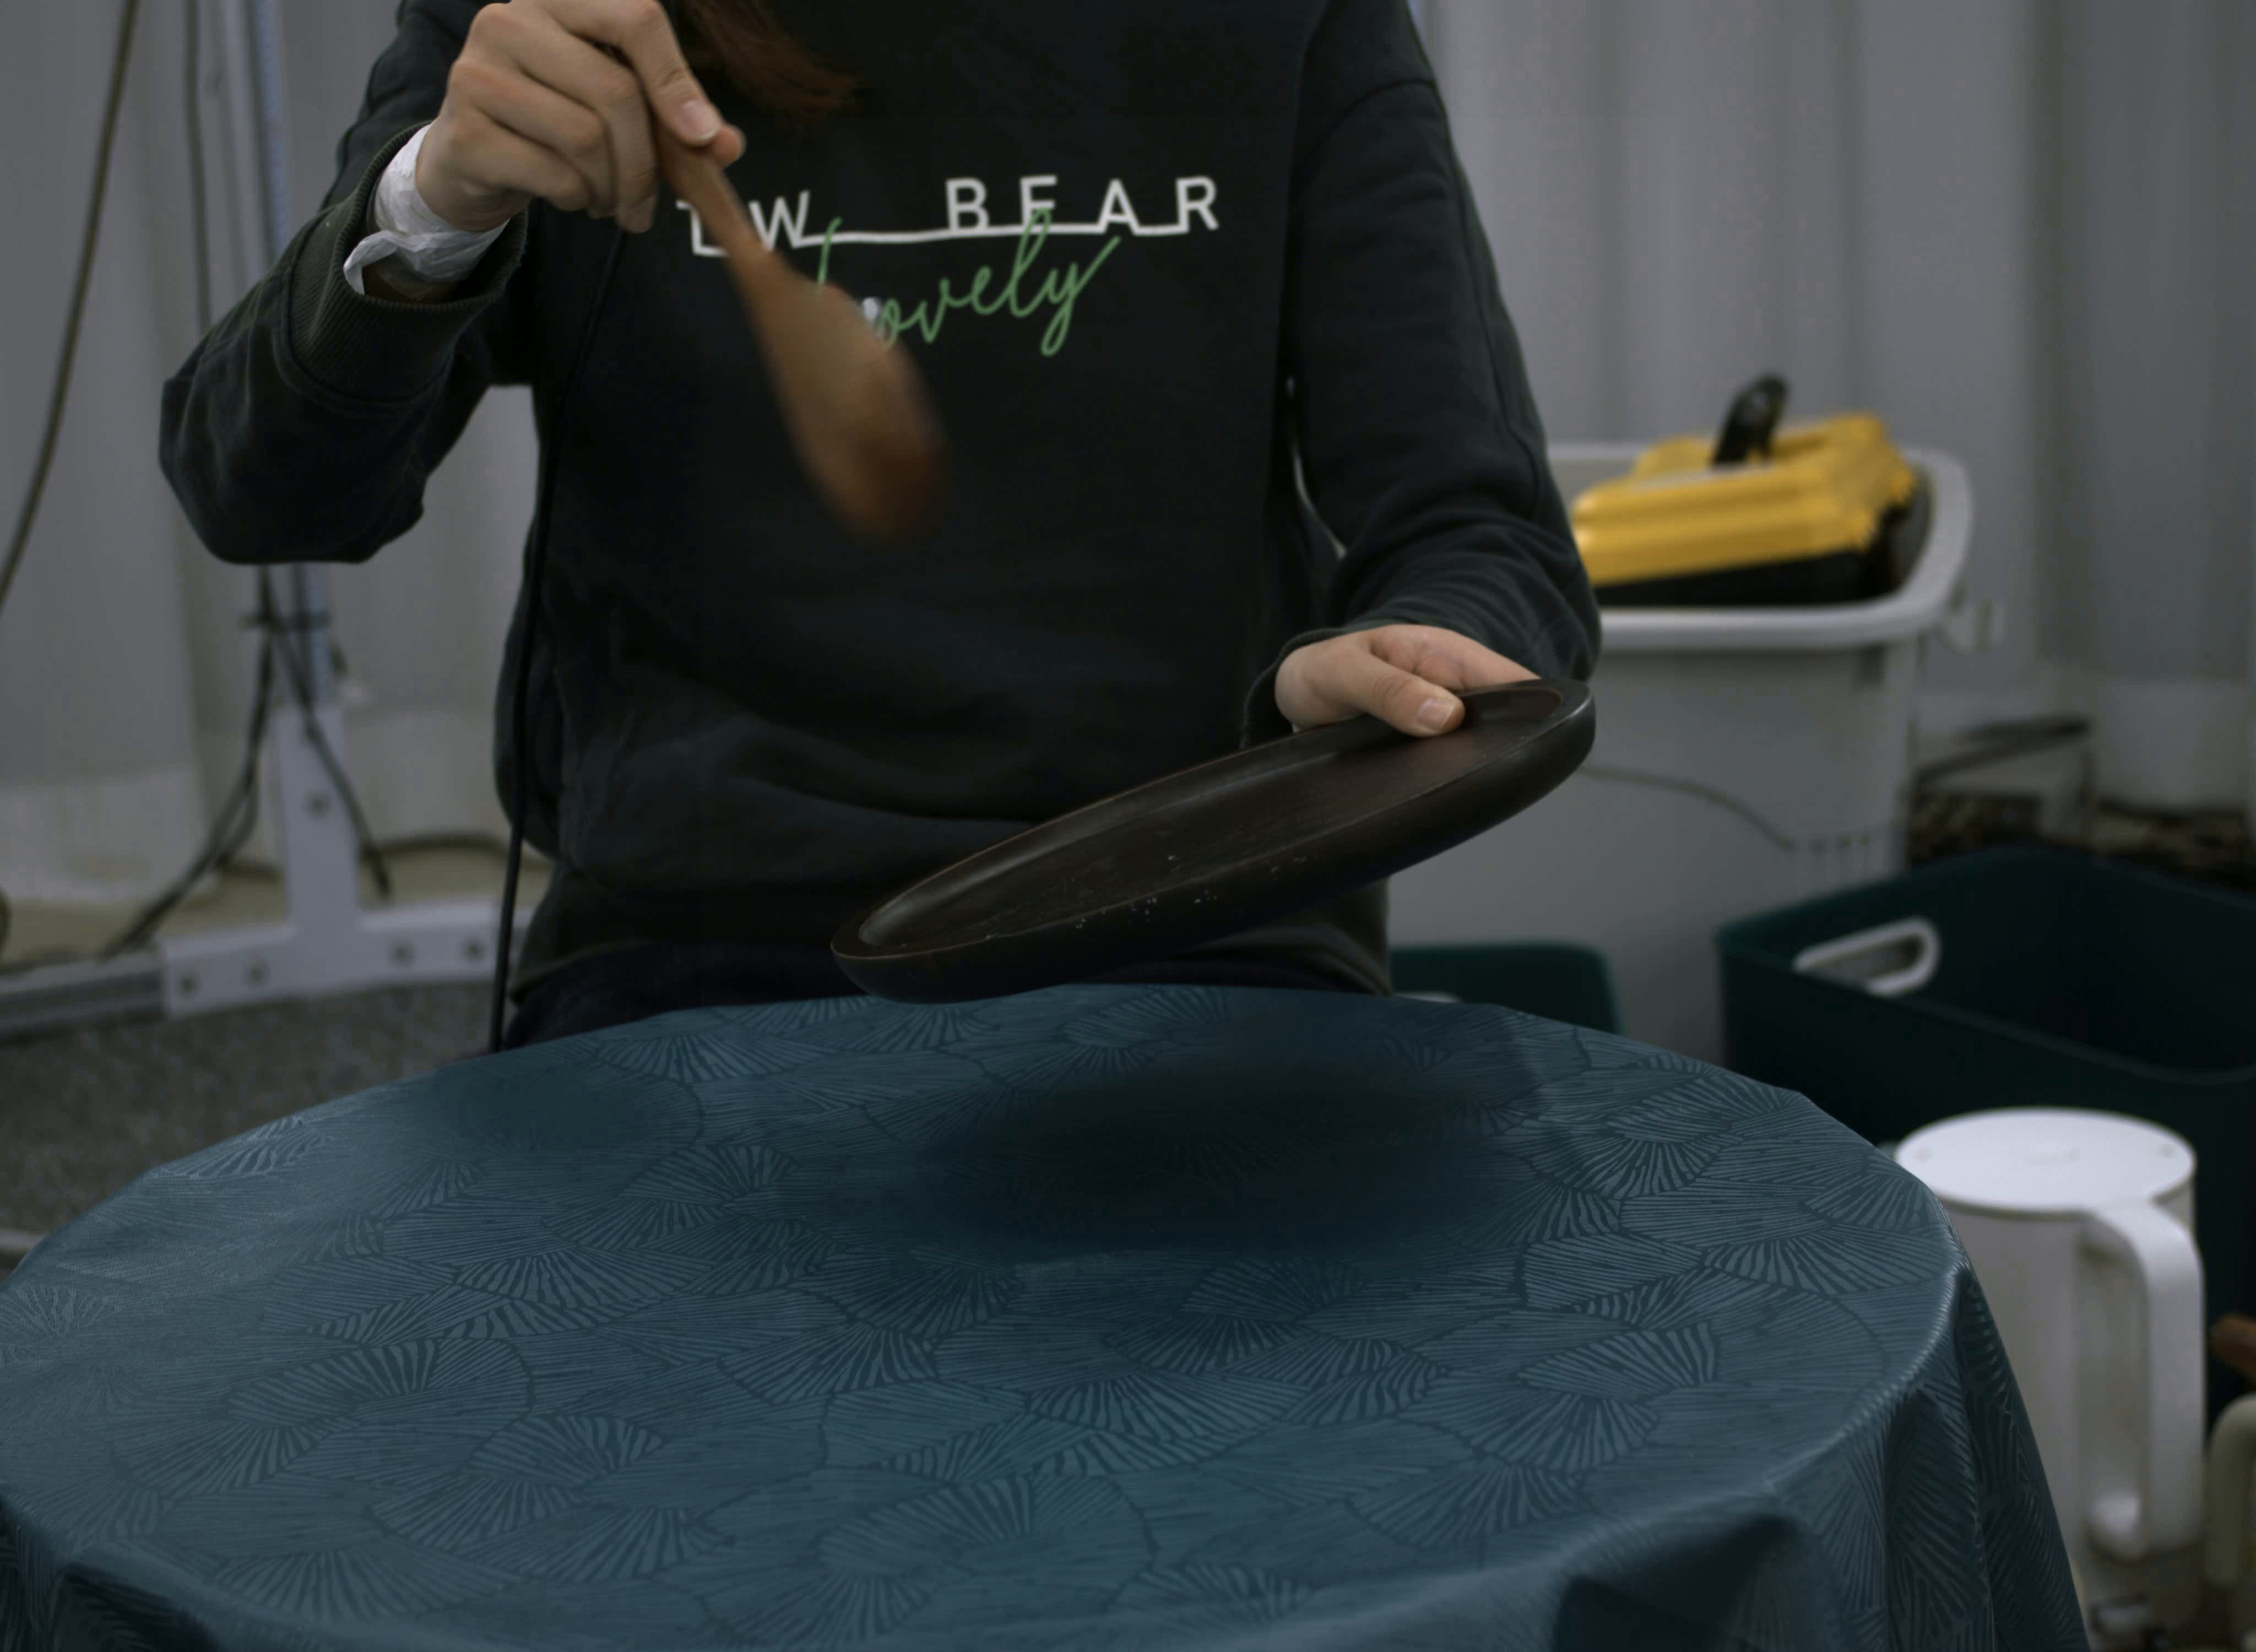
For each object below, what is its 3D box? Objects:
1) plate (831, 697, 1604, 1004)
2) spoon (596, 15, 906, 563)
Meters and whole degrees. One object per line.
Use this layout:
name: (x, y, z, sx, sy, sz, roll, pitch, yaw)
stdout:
plate: (0.029, 0.007, 1.720, 0.254, 0.029, 0.256, -18, 9, 2)
spoon: (-0.118, -0.169, 1.689, 0.017, 0.074, 0.219, -16, 58, -21)
